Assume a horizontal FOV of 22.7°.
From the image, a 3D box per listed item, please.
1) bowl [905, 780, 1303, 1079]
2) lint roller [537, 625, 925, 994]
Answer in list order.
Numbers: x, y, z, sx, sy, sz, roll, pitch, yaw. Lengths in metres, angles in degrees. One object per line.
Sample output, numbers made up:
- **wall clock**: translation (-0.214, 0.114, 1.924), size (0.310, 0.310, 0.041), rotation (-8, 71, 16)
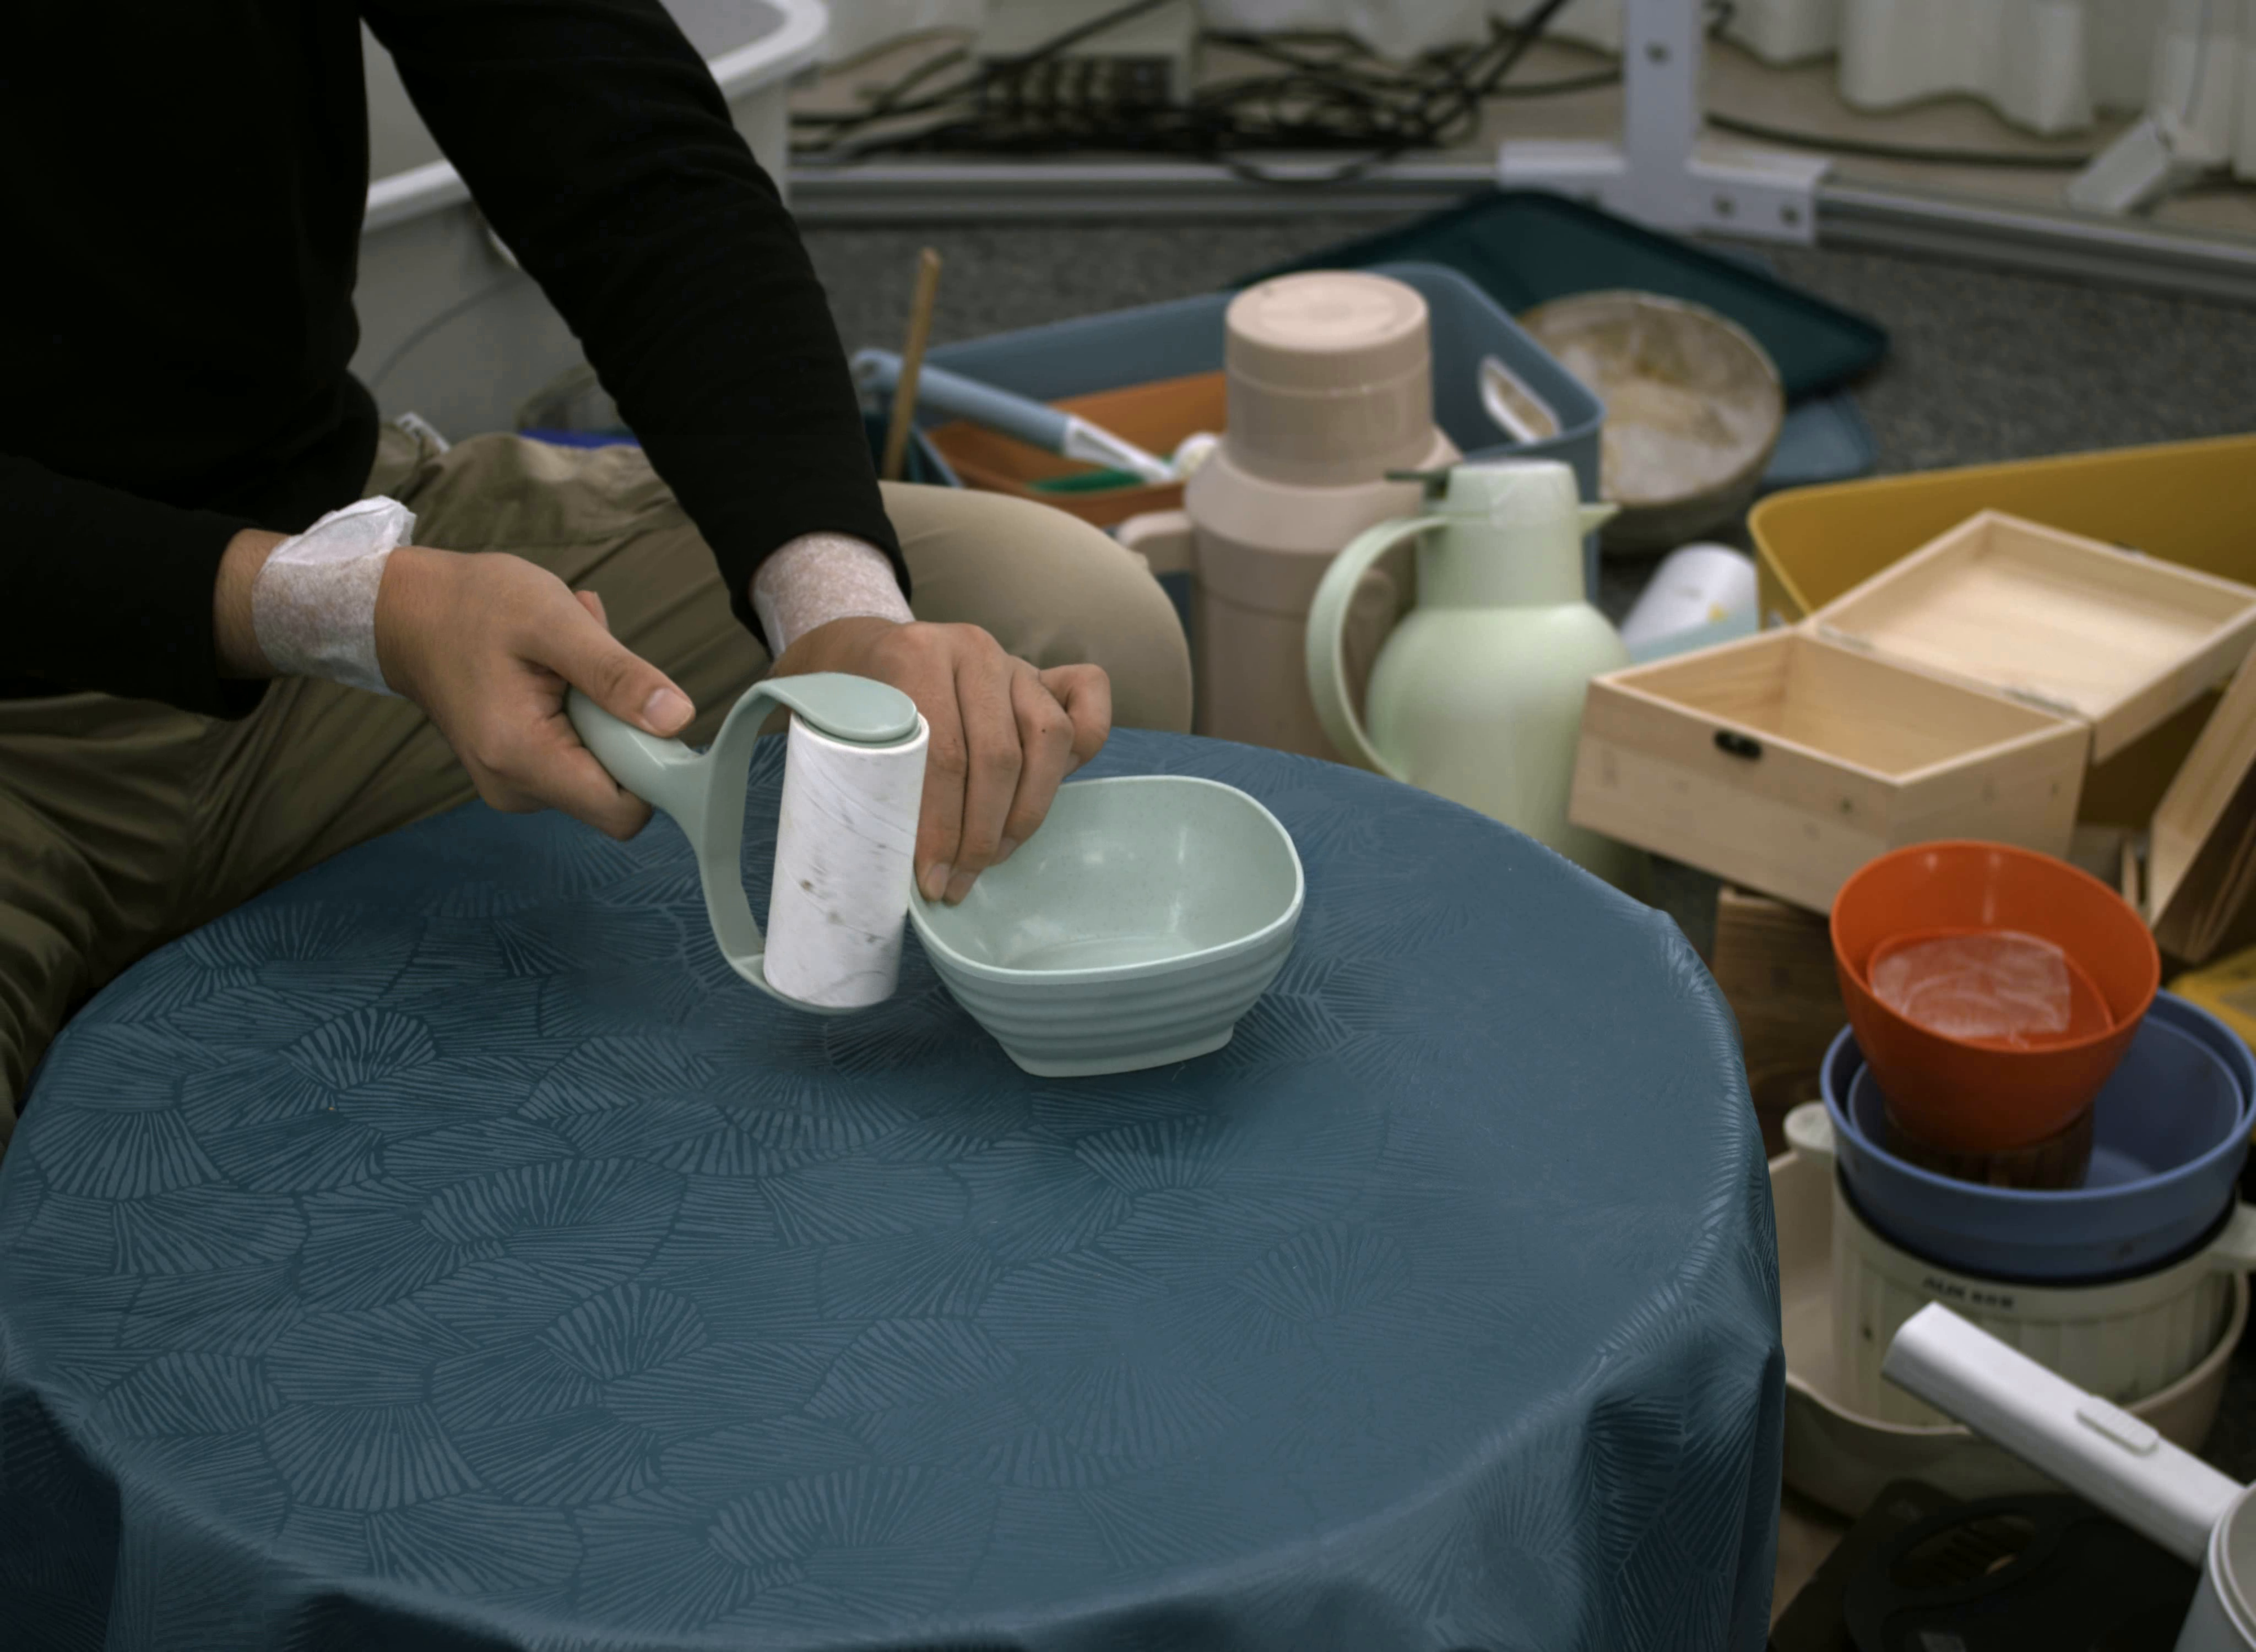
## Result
- **bowl**: translation (-0.009, 0.042, 1.956), size (0.151, 0.058, 0.154), rotation (-1, 27, 1)
- **lint roller**: translation (-0.149, -0.028, 1.960), size (0.197, 0.115, 0.049), rotation (28, 32, 36)
